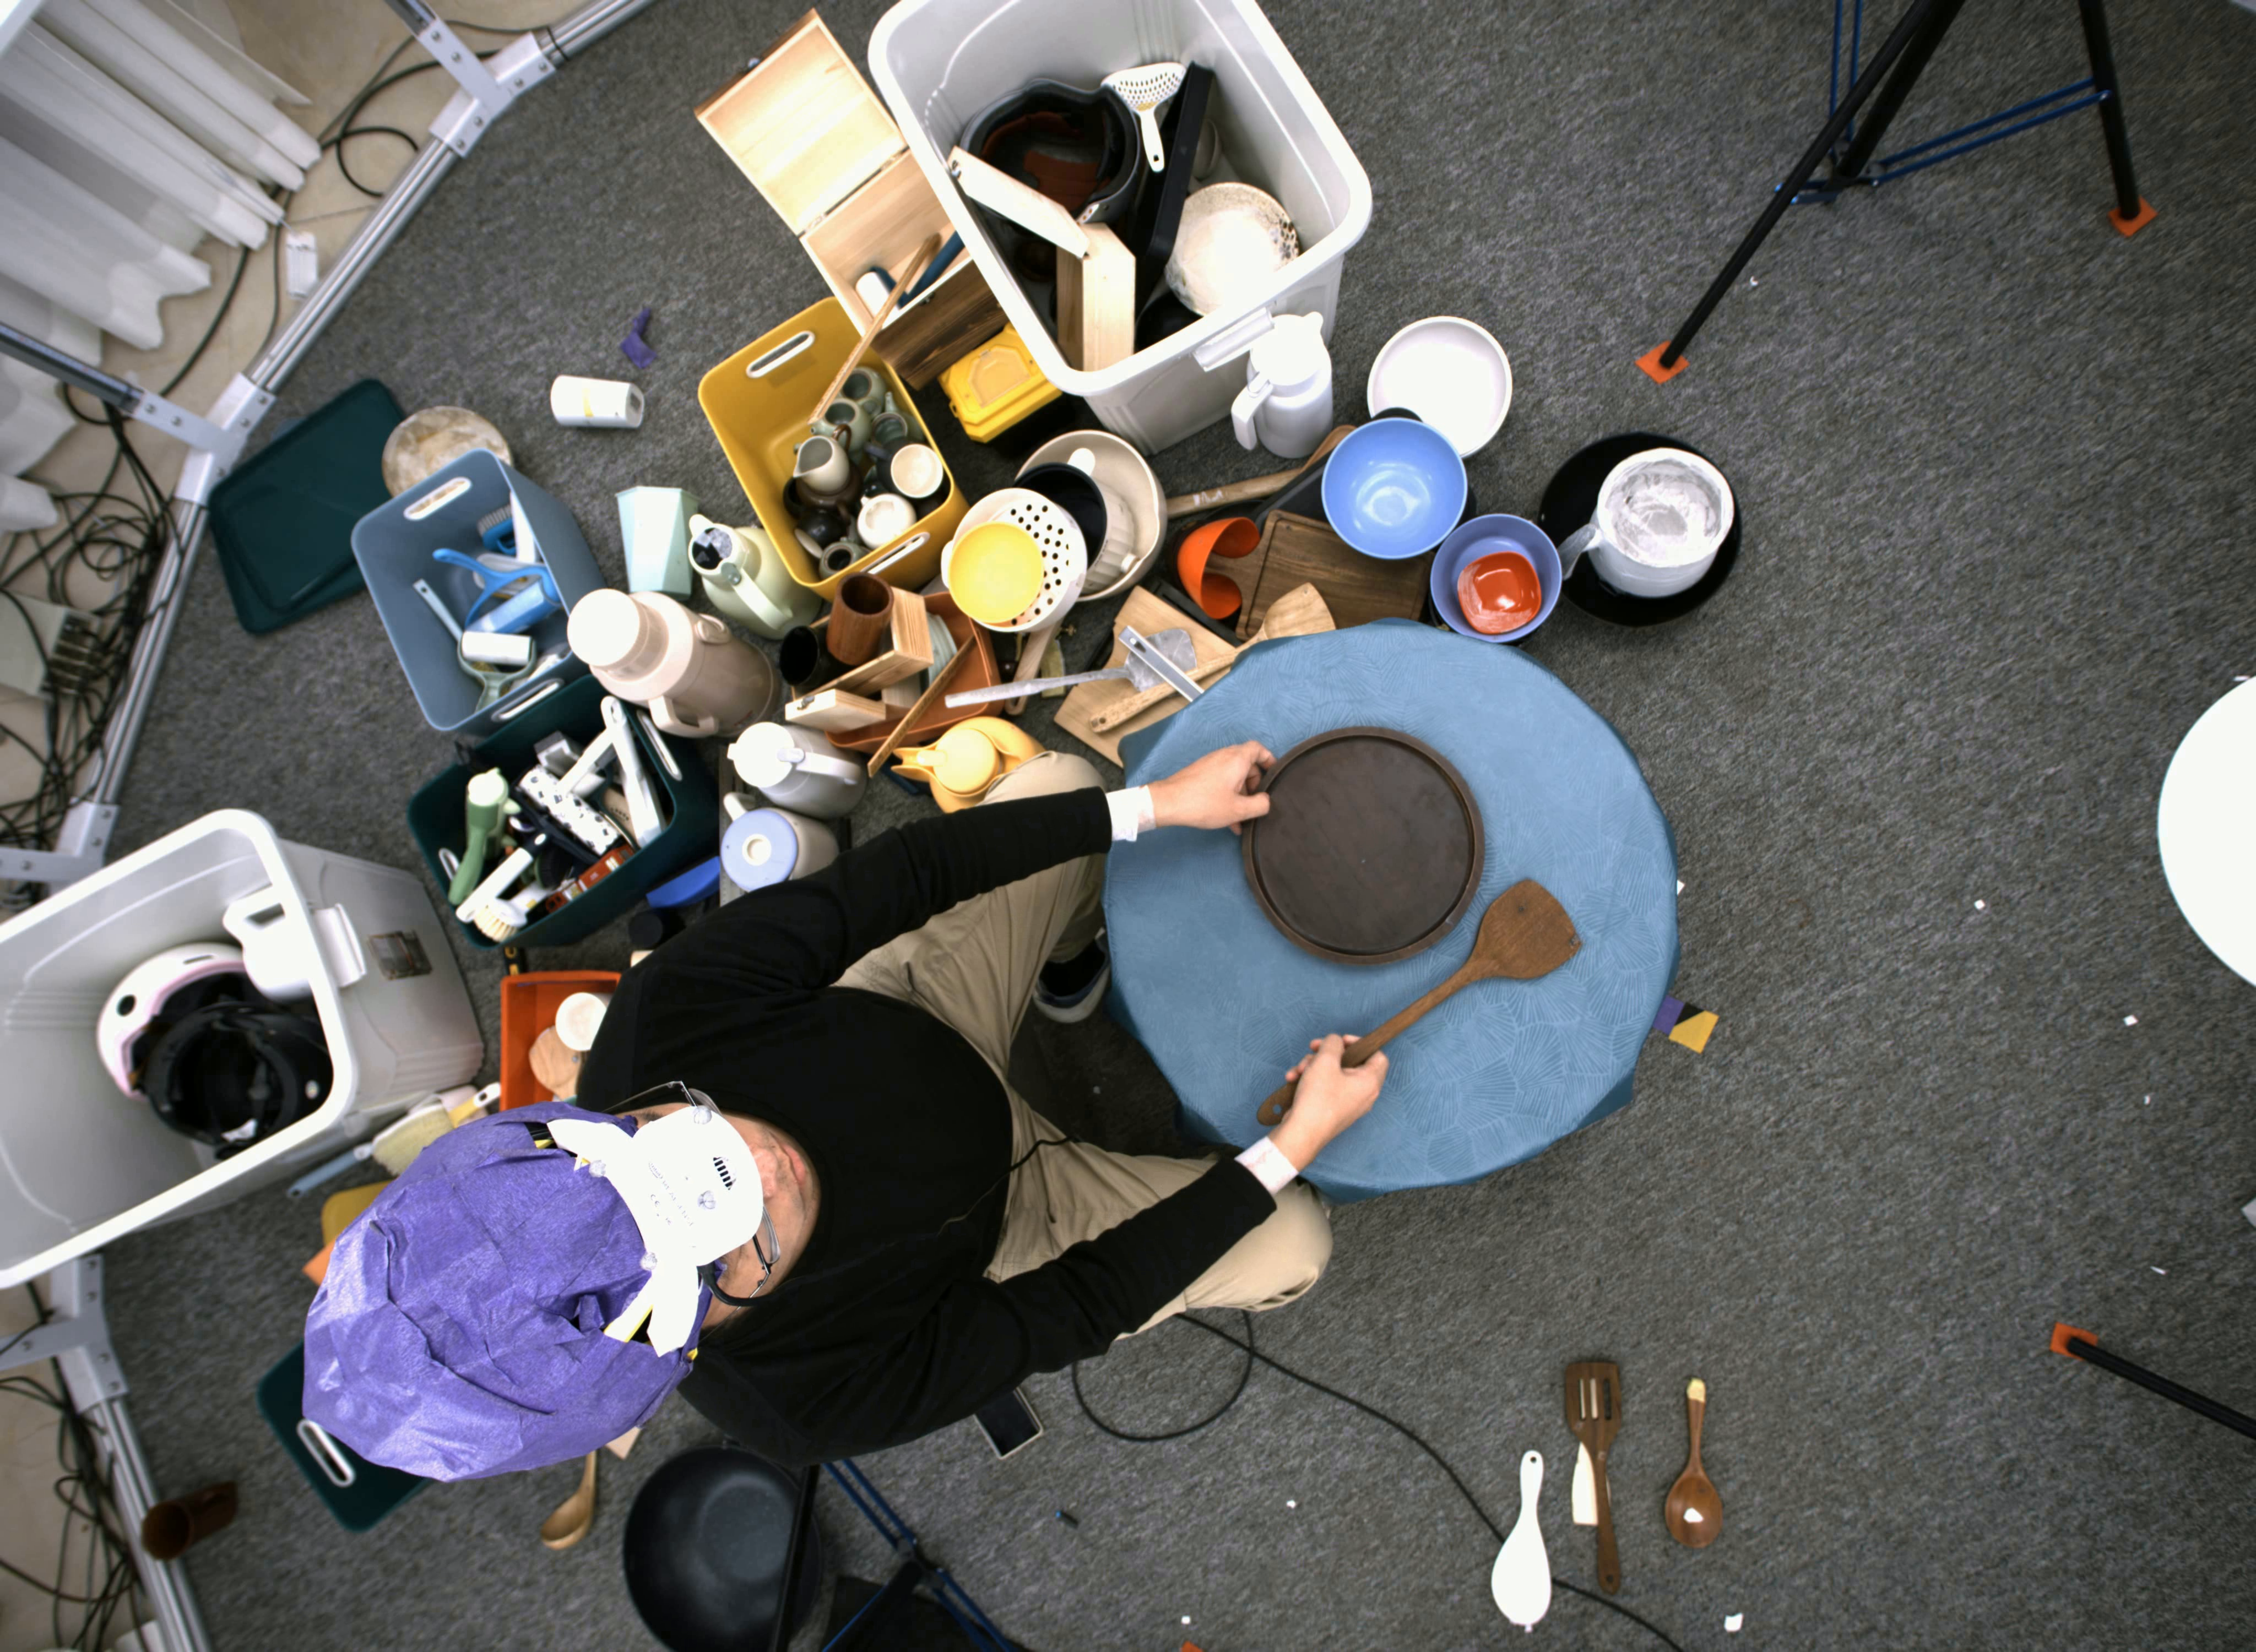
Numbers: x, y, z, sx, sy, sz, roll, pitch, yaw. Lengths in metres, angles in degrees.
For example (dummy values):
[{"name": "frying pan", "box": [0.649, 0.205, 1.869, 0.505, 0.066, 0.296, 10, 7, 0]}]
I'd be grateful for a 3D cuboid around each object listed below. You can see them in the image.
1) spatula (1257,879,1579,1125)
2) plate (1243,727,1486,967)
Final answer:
[{"name": "spatula", "box": [0.291, 0.188, 1.412, 0.385, 0.016, 0.095, -34, 81, -5]}, {"name": "plate", "box": [0.247, 0.021, 1.453, 0.255, 0.029, 0.253, -1, 87, 8]}]
